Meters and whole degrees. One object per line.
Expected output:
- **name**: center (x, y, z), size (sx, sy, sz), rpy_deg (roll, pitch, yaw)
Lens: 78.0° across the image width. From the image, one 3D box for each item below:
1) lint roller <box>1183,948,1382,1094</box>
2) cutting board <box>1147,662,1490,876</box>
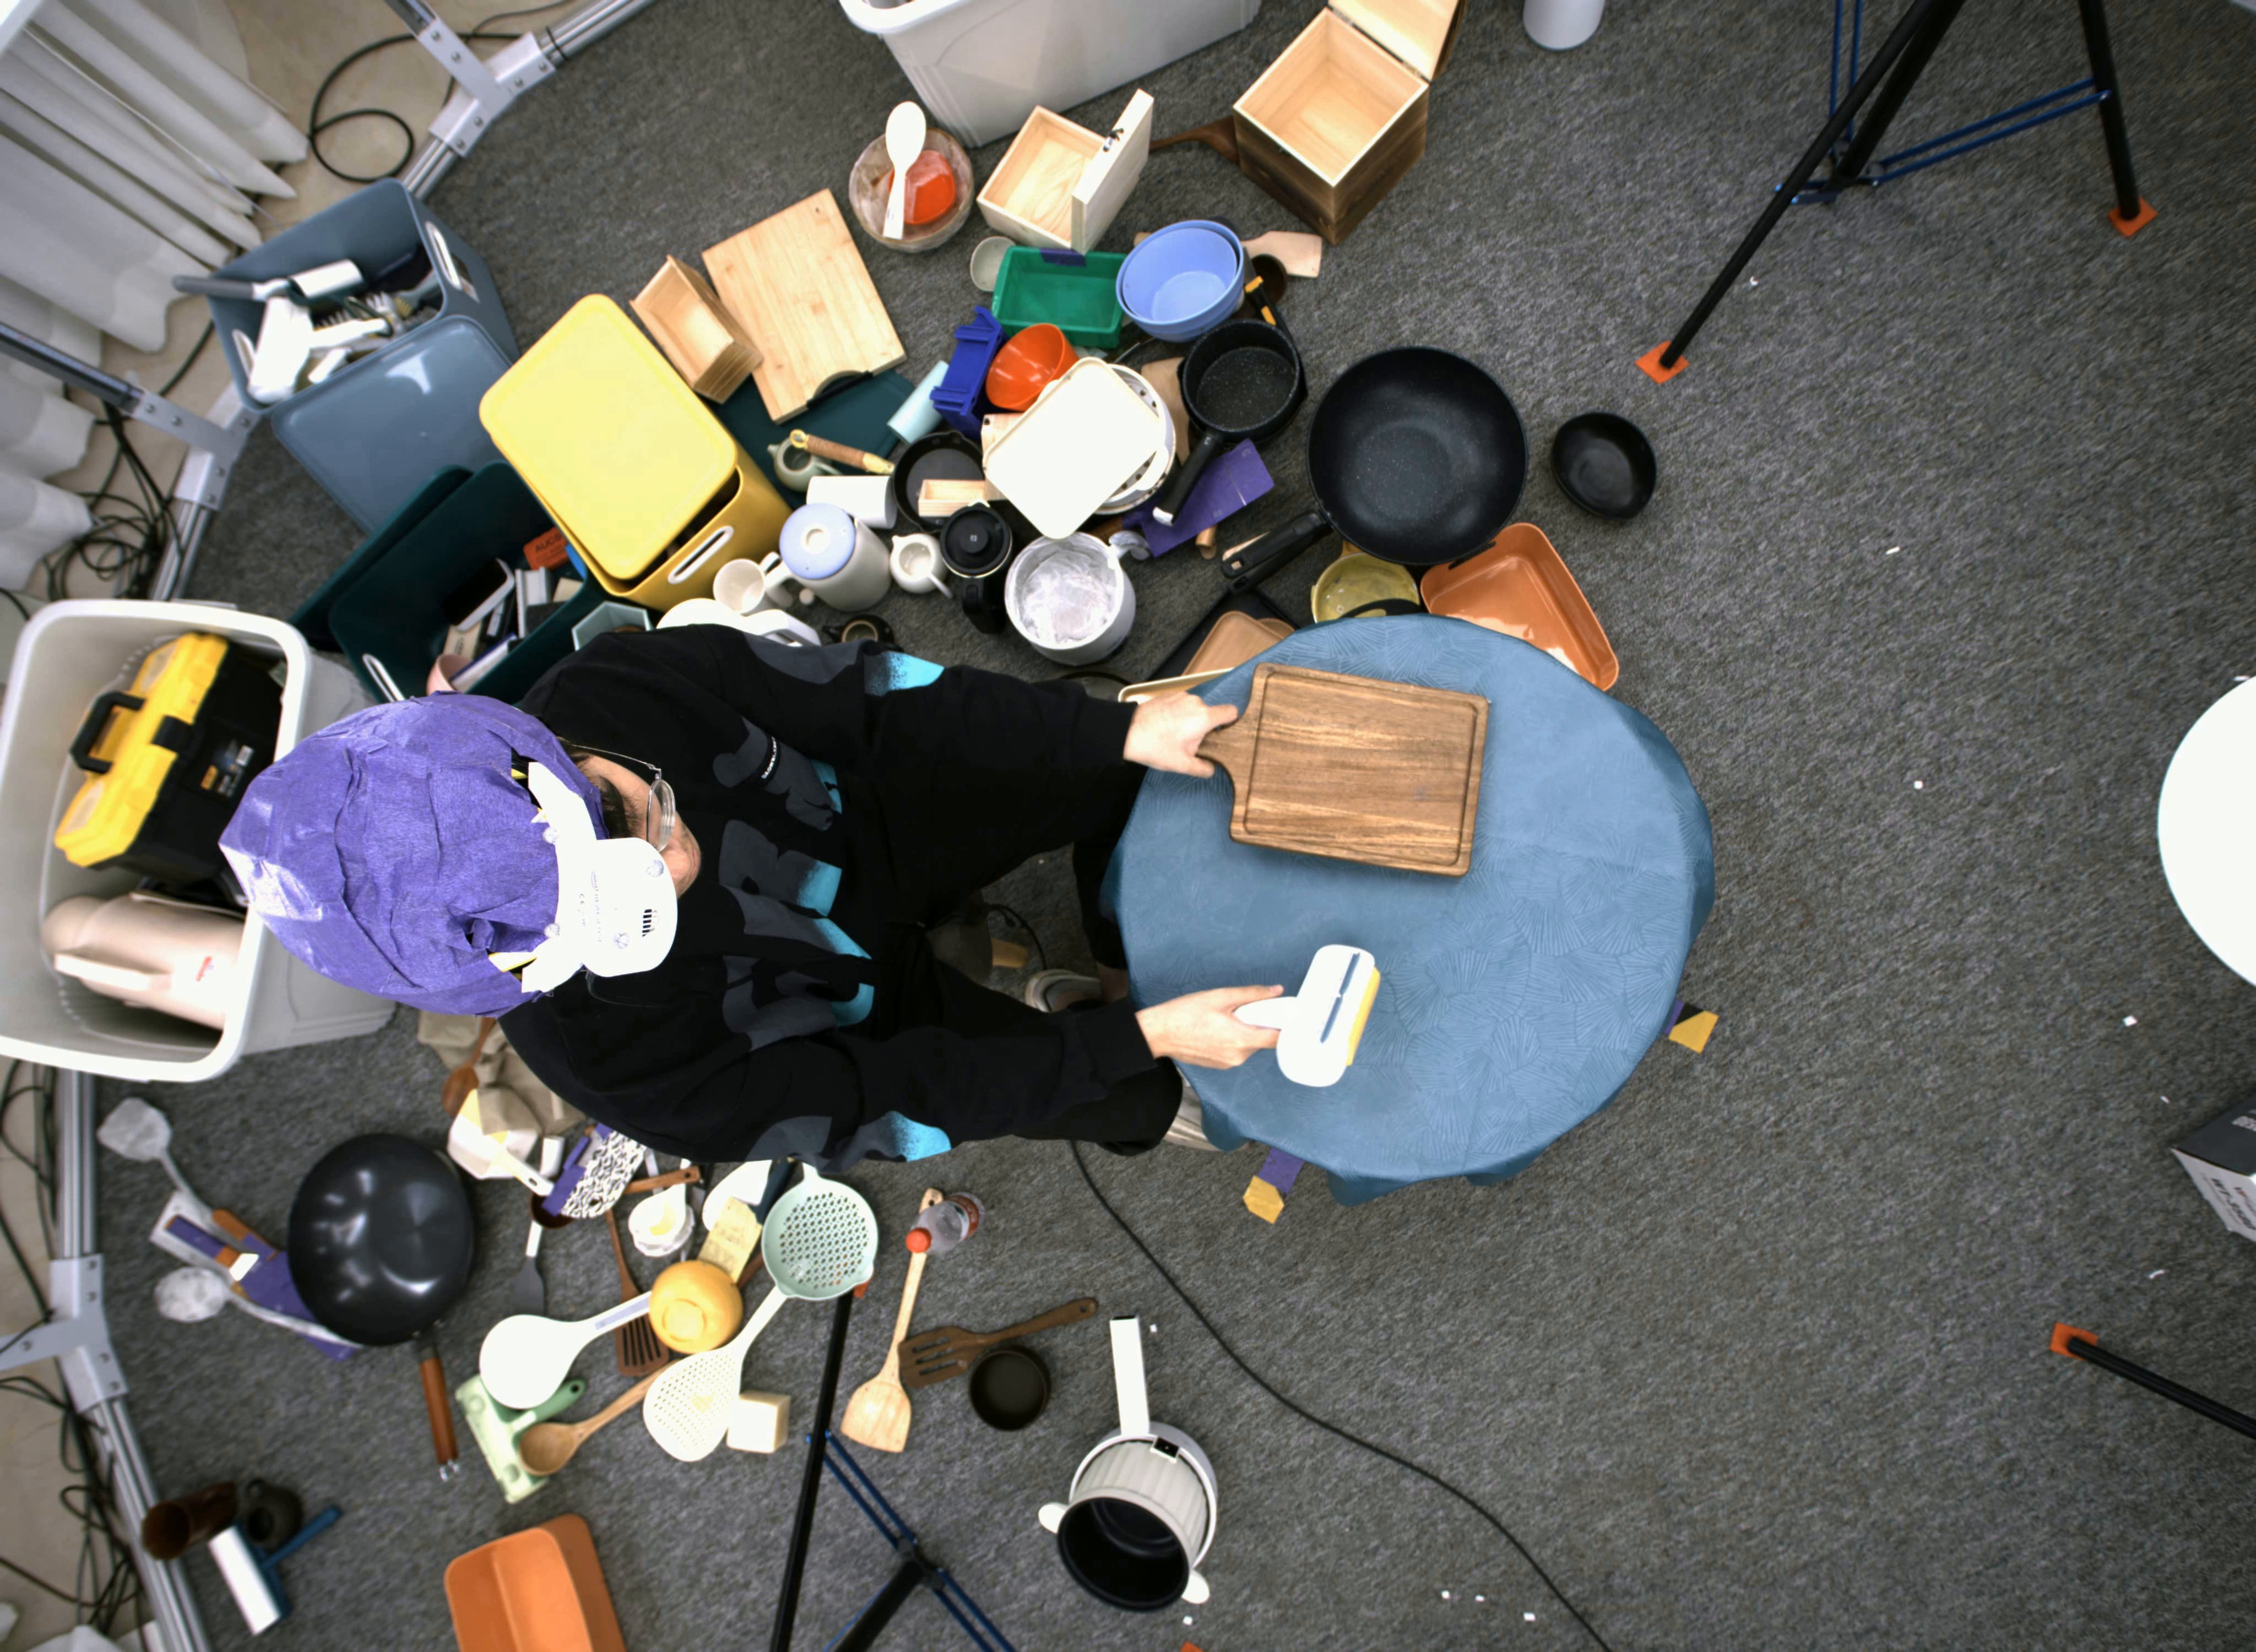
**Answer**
- **lint roller**: center (0.143, 0.188, 1.374), size (0.193, 0.188, 0.076), rpy_deg (4, 125, 24)
- **cutting board**: center (0.195, -0.068, 1.438), size (0.353, 0.023, 0.200), rpy_deg (8, 85, 3)
